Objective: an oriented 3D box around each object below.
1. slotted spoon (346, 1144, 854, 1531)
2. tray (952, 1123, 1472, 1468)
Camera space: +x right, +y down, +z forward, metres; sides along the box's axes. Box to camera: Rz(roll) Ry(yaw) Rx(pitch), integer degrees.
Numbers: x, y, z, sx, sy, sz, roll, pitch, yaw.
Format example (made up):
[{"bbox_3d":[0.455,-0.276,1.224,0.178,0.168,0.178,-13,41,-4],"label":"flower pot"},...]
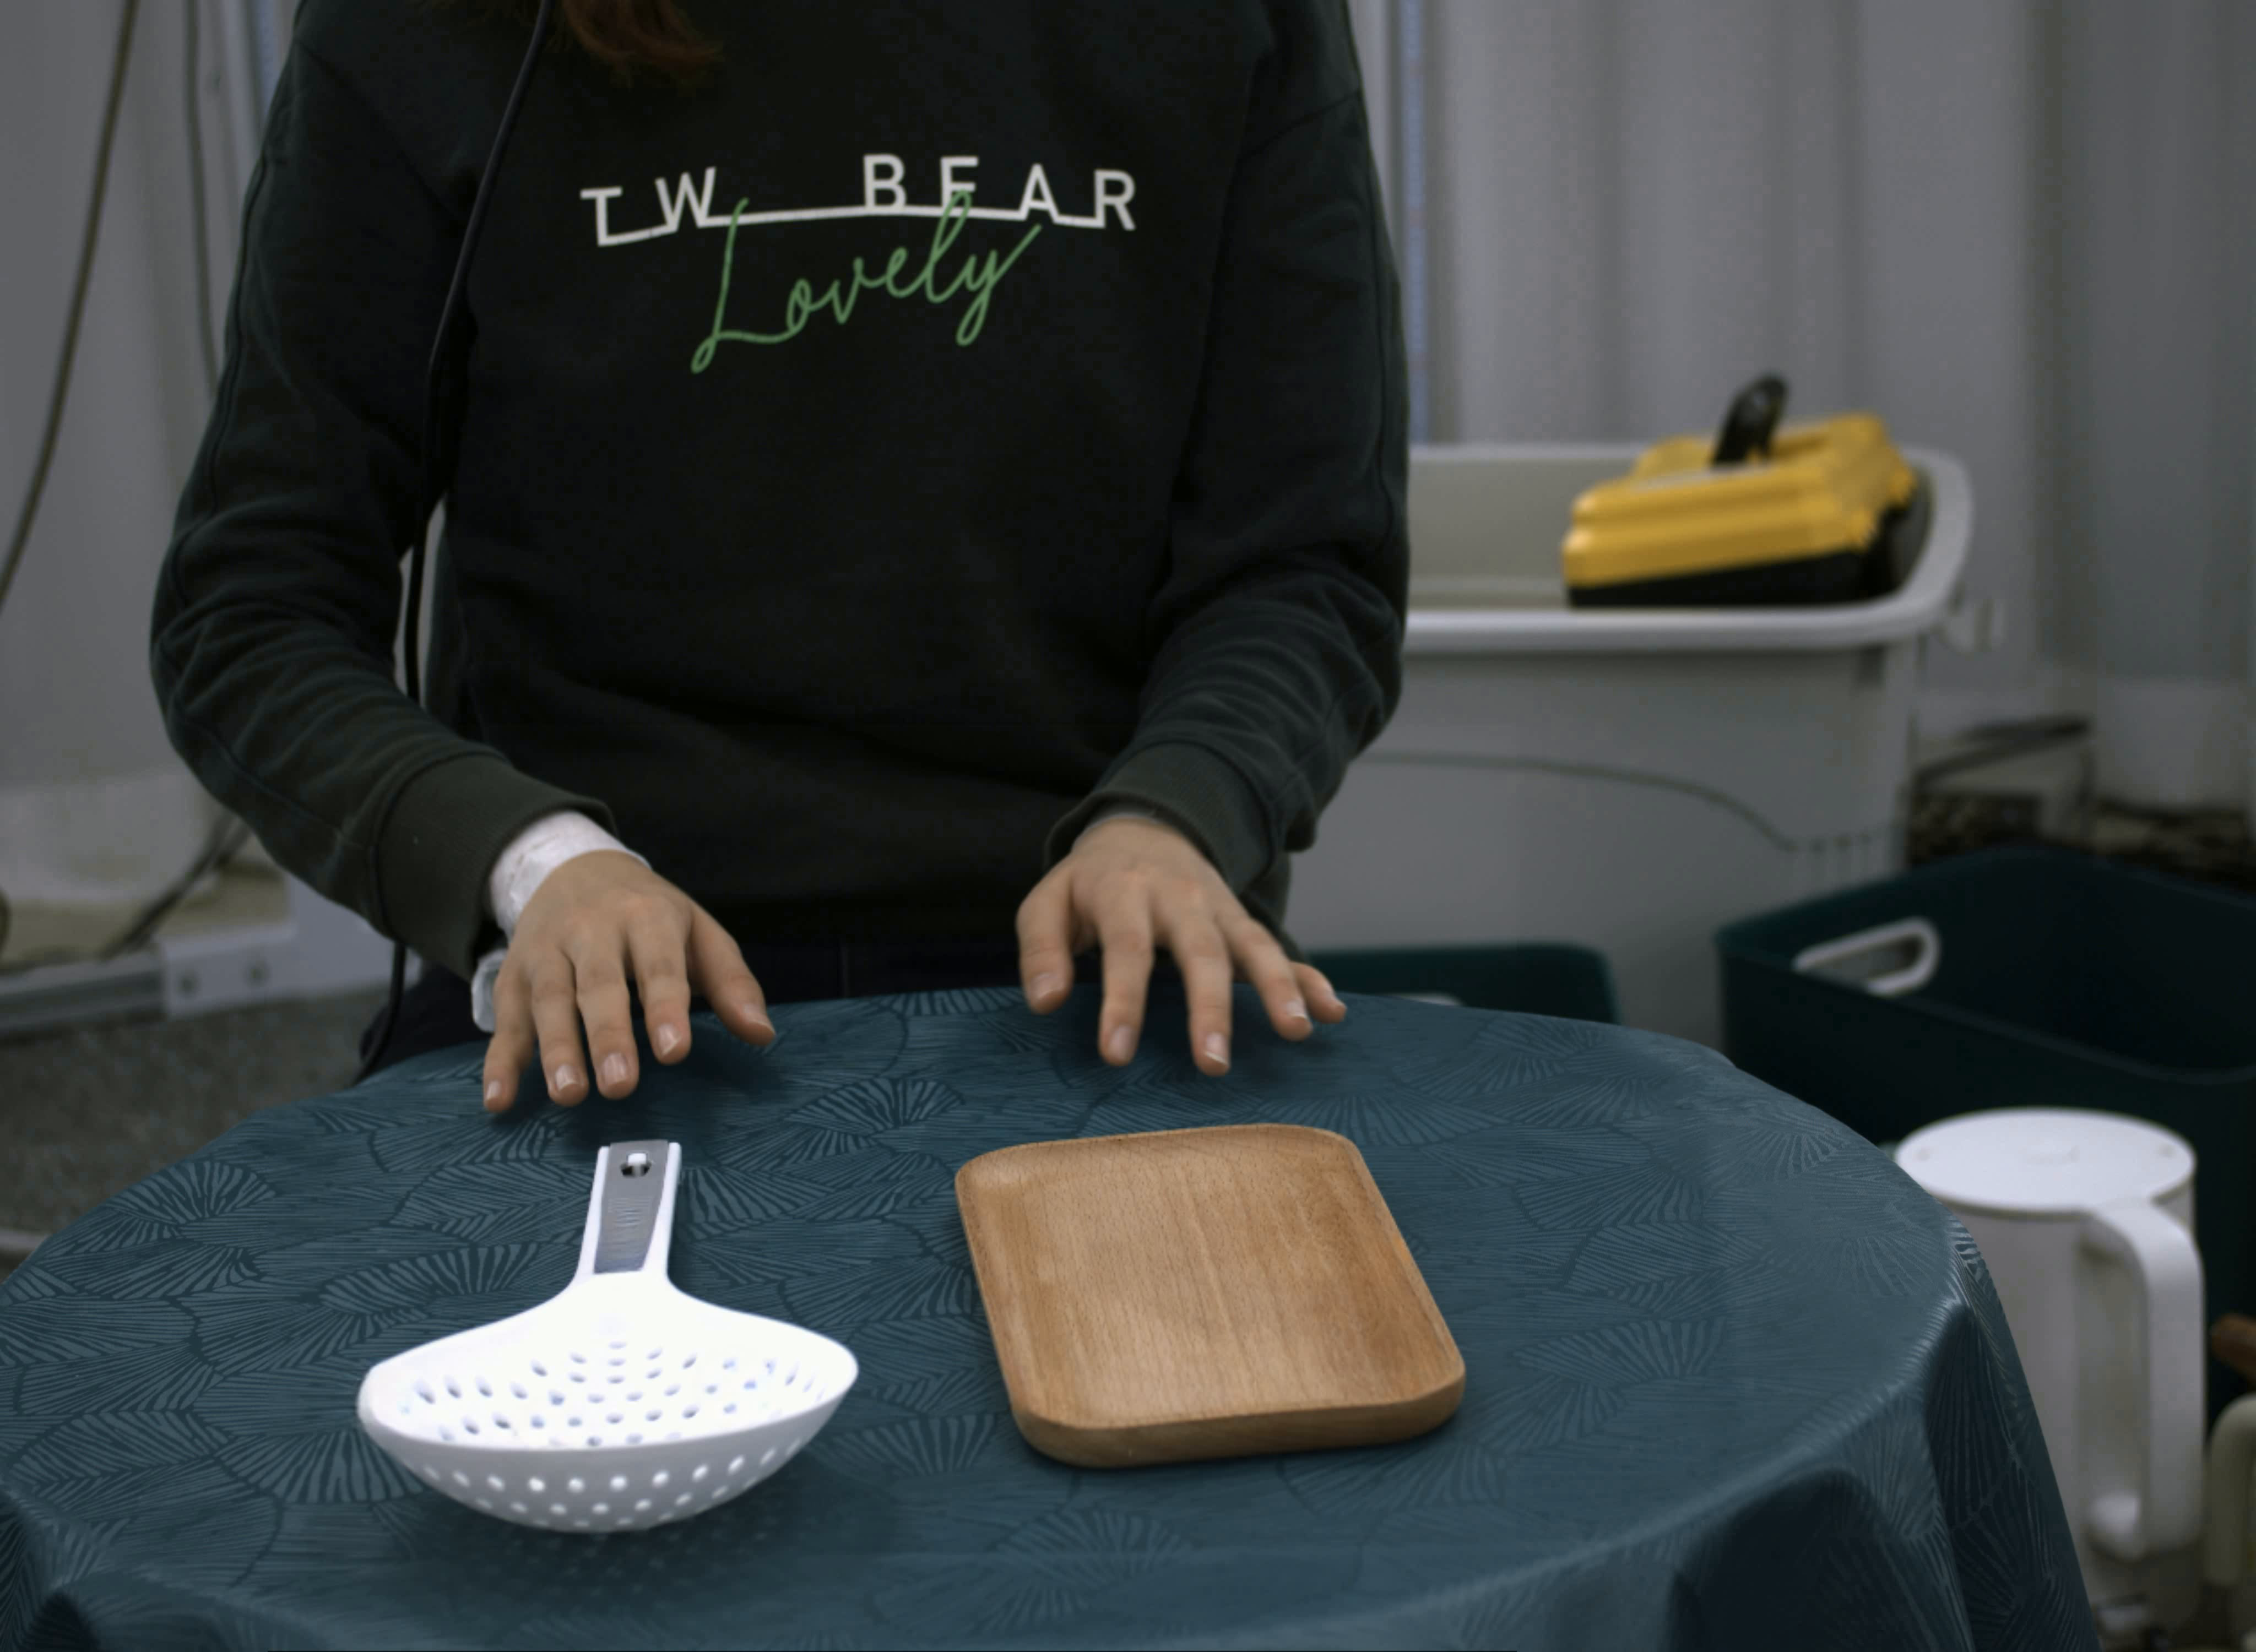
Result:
[{"bbox_3d":[-0.146,0.137,1.570,0.135,0.045,0.352,-1,14,-3],"label":"slotted spoon"},{"bbox_3d":[0.020,0.135,1.604,0.130,0.023,0.252,-2,14,-6],"label":"tray"}]
